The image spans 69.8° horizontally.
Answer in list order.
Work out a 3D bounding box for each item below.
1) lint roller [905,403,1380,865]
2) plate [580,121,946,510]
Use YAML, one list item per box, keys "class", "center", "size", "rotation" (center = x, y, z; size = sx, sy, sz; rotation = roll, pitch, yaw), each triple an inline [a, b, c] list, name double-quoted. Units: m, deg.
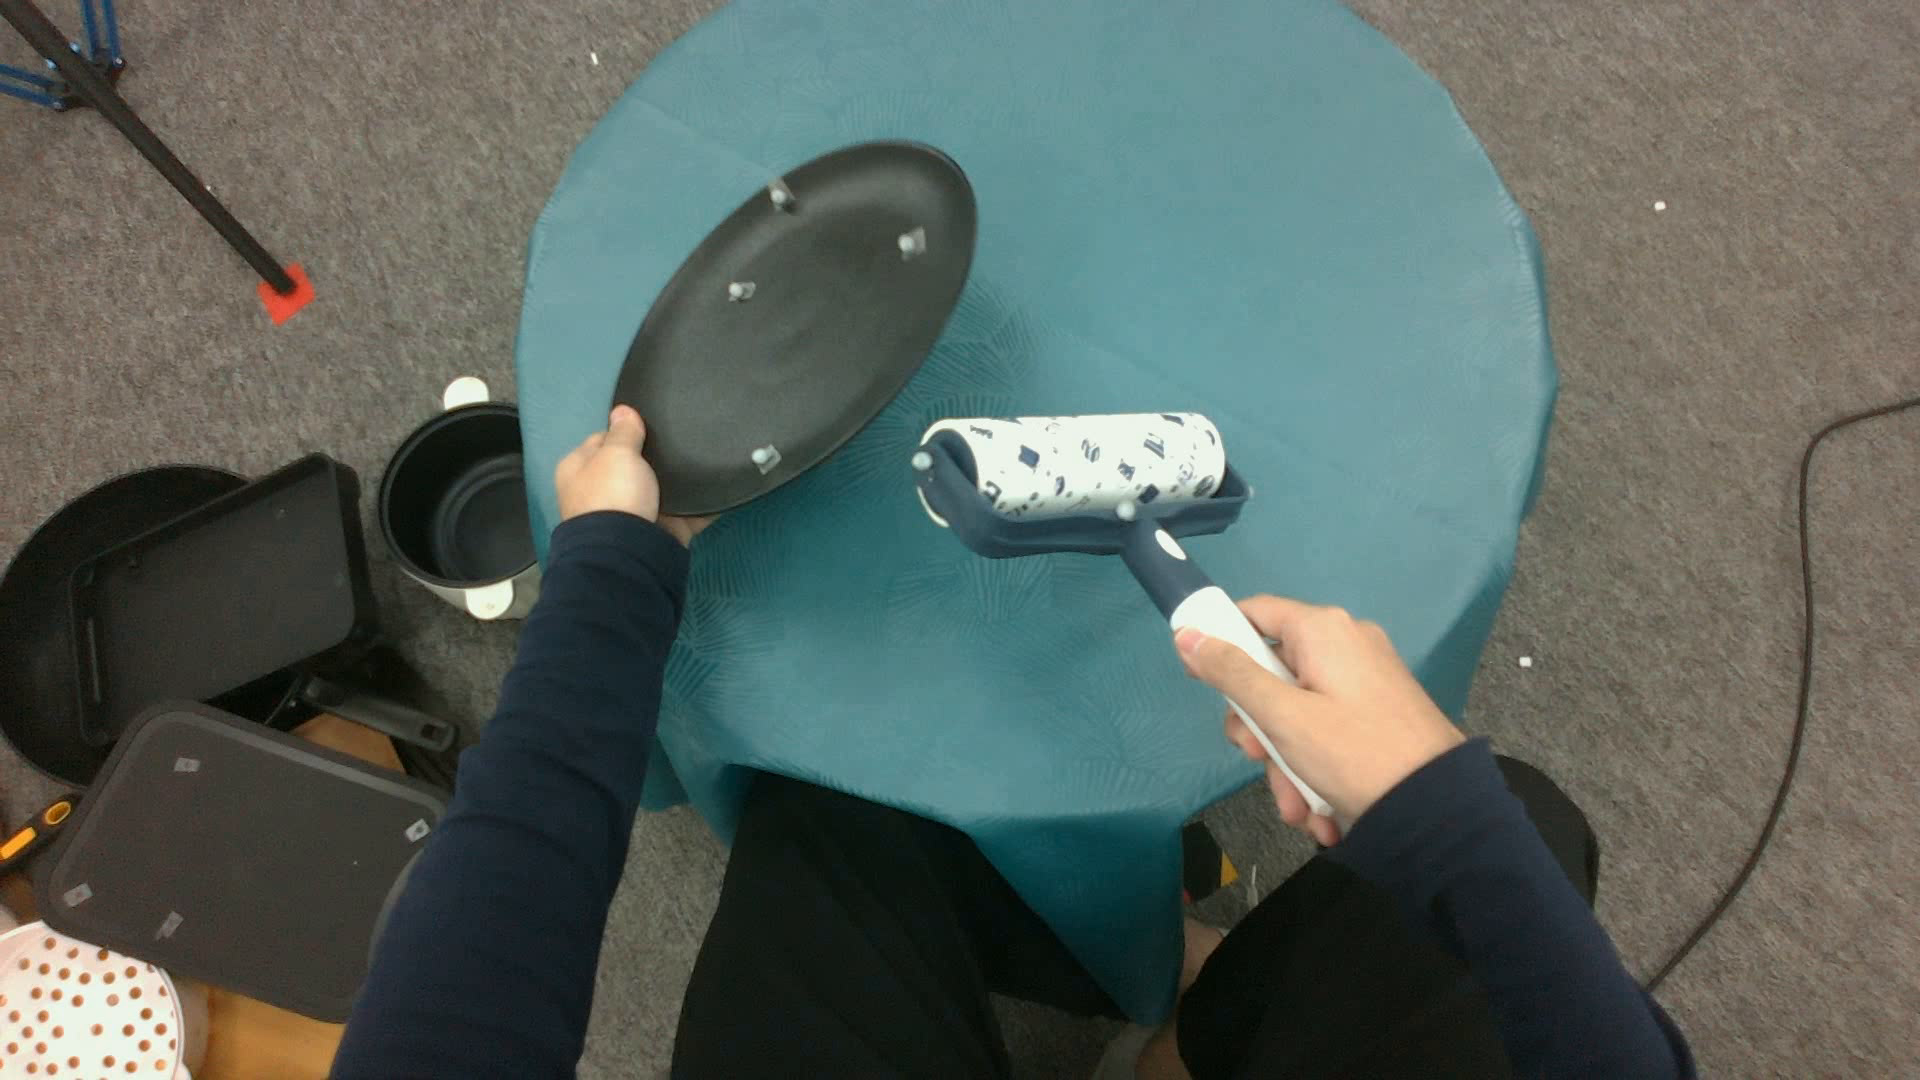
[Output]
- class: "lint roller"
  center: [0.102, 0.029, 0.596]
  size: [0.177, 0.050, 0.247]
  rotation: [-5, 48, -42]
- class: "plate"
  center: [-0.103, -0.118, 0.721]
  size: [0.243, 0.023, 0.245]
  rotation: [-21, 50, 27]
